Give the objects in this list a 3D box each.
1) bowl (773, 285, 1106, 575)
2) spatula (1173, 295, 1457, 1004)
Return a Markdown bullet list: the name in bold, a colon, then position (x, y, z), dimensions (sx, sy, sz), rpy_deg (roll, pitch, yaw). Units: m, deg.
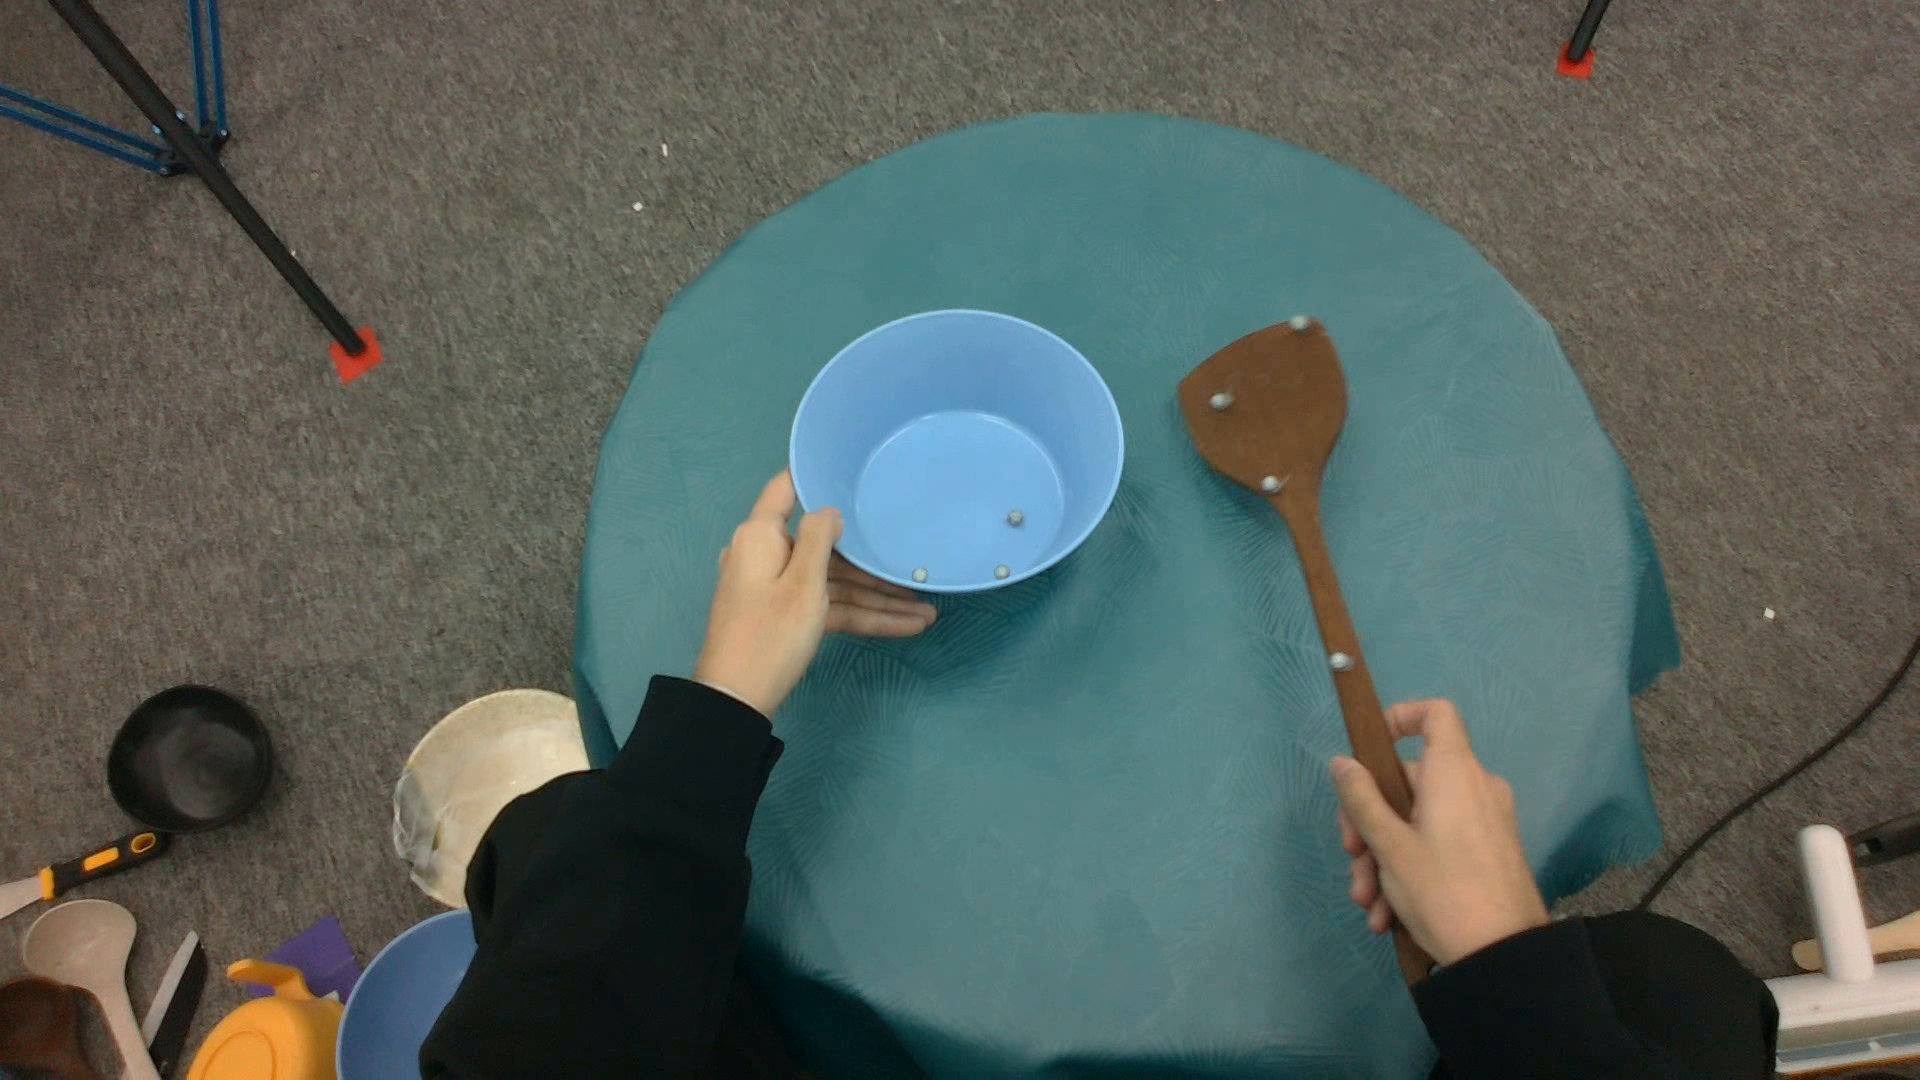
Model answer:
- **bowl**: position (-0.010, -0.049, 0.749), dimensions (0.176, 0.070, 0.176), rpy_deg (0, 64, 1)
- **spatula**: position (0.184, 0.035, 0.694), dimensions (0.096, 0.016, 0.387), rpy_deg (-21, 56, 22)
